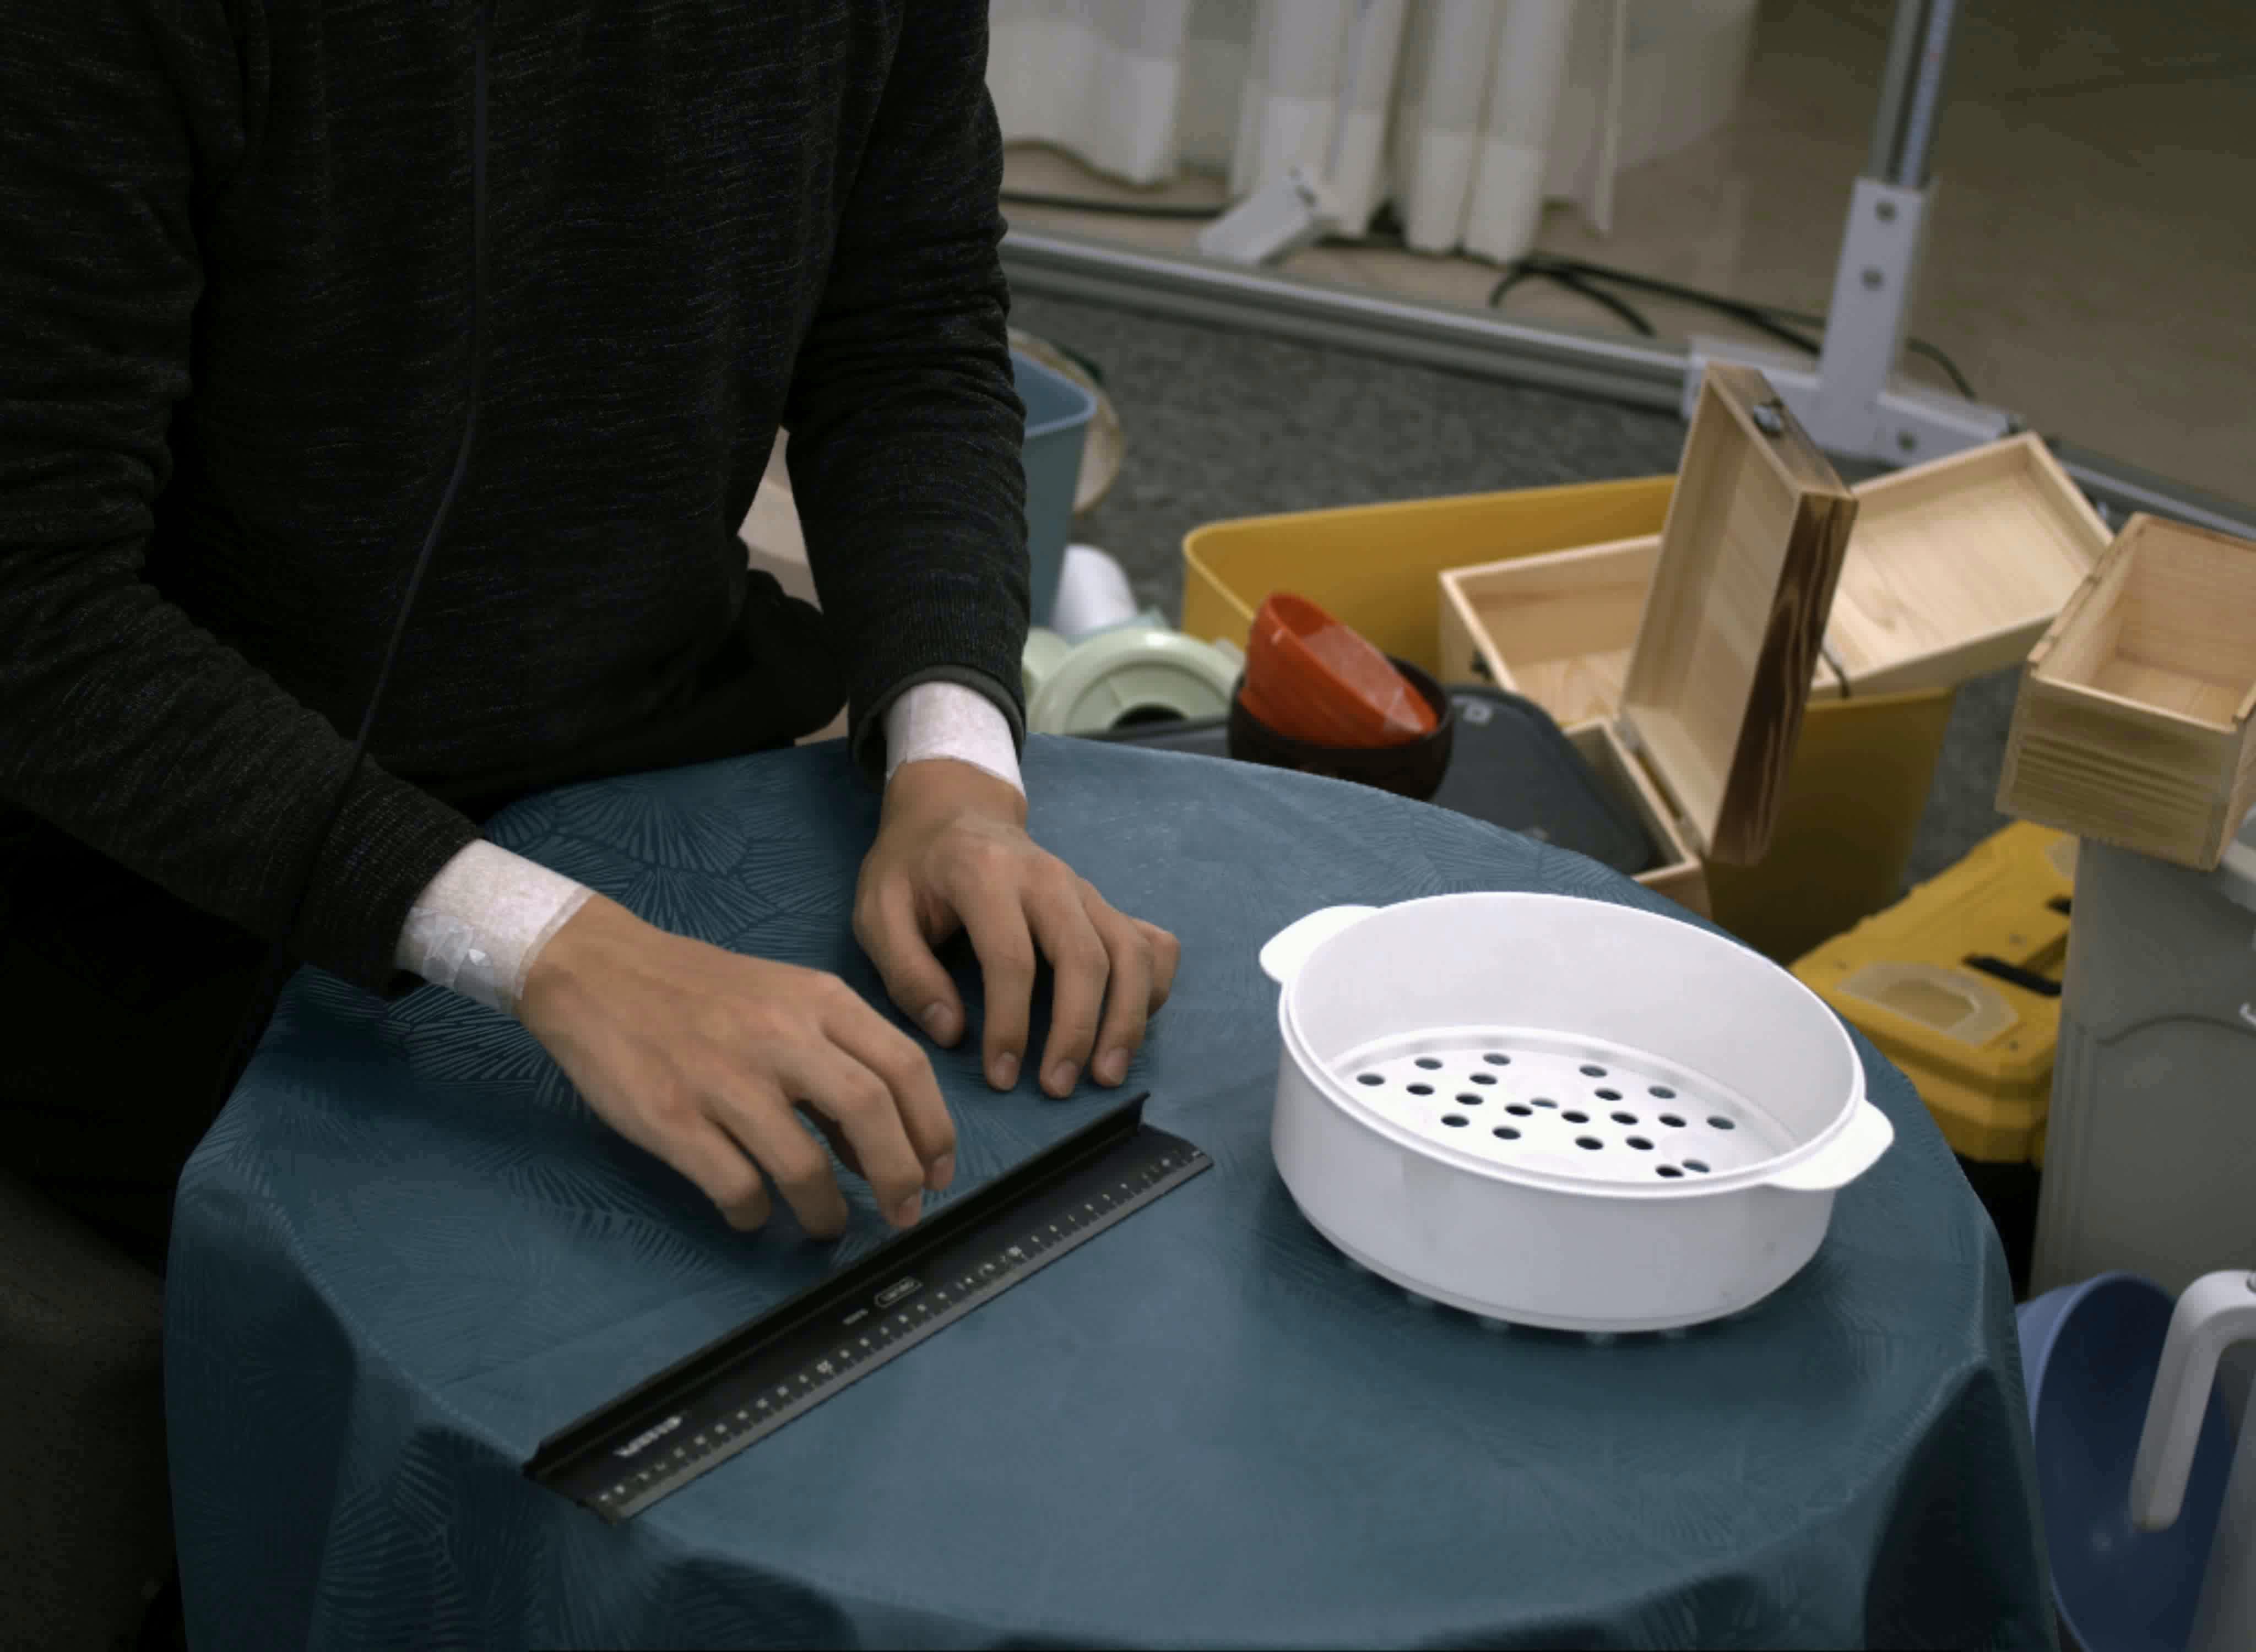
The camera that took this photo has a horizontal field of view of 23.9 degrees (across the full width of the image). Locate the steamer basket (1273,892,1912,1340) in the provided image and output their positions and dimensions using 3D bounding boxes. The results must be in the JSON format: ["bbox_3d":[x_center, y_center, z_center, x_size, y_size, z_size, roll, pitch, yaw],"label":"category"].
[{"bbox_3d":[0.151,0.099,1.808,0.232,0.069,0.201,24,31,26],"label":"steamer basket"}]

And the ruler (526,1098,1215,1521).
[{"bbox_3d":[-0.076,0.151,1.714,0.039,0.017,0.311,27,33,28],"label":"ruler"}]
